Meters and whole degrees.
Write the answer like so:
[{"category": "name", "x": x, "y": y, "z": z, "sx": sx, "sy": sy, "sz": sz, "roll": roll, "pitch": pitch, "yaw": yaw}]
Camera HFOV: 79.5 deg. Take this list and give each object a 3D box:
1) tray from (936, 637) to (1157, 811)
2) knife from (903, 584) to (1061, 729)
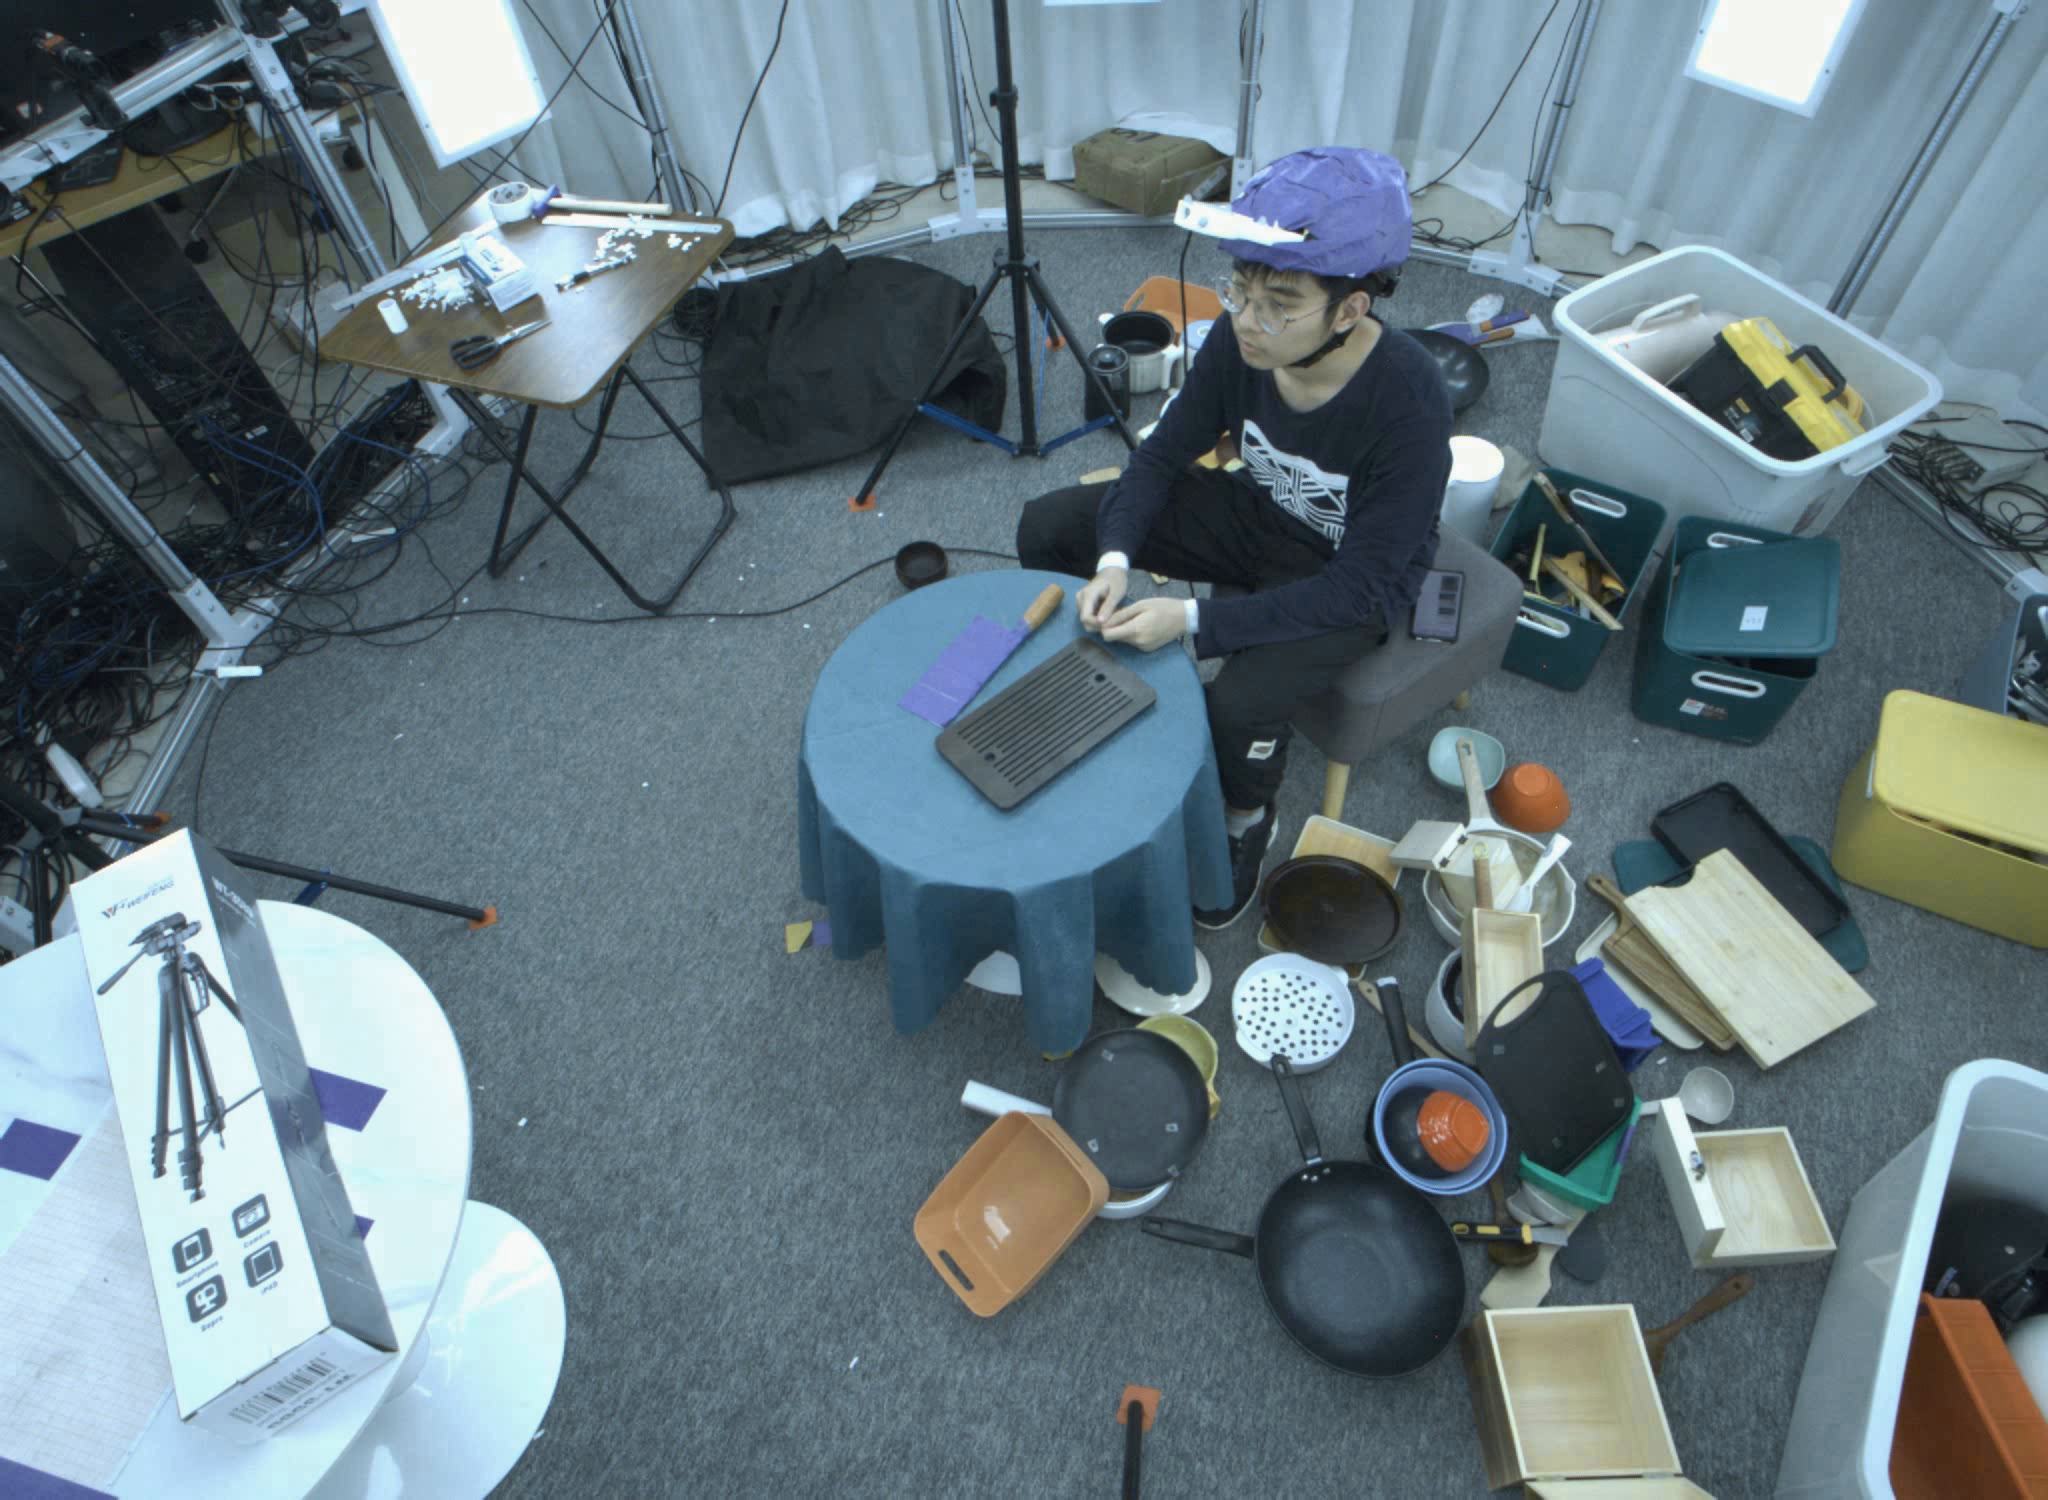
[{"category": "tray", "x": 0.035, "y": -0.043, "z": 1.813, "sx": 0.308, "sy": 0.019, "sz": 0.167, "roll": -36, "pitch": 61, "yaw": -22}, {"category": "knife", "x": -0.066, "y": -0.160, "z": 1.895, "sx": 0.102, "sy": 0.032, "sz": 0.316, "roll": 29, "pitch": 61, "yaw": 20}]
